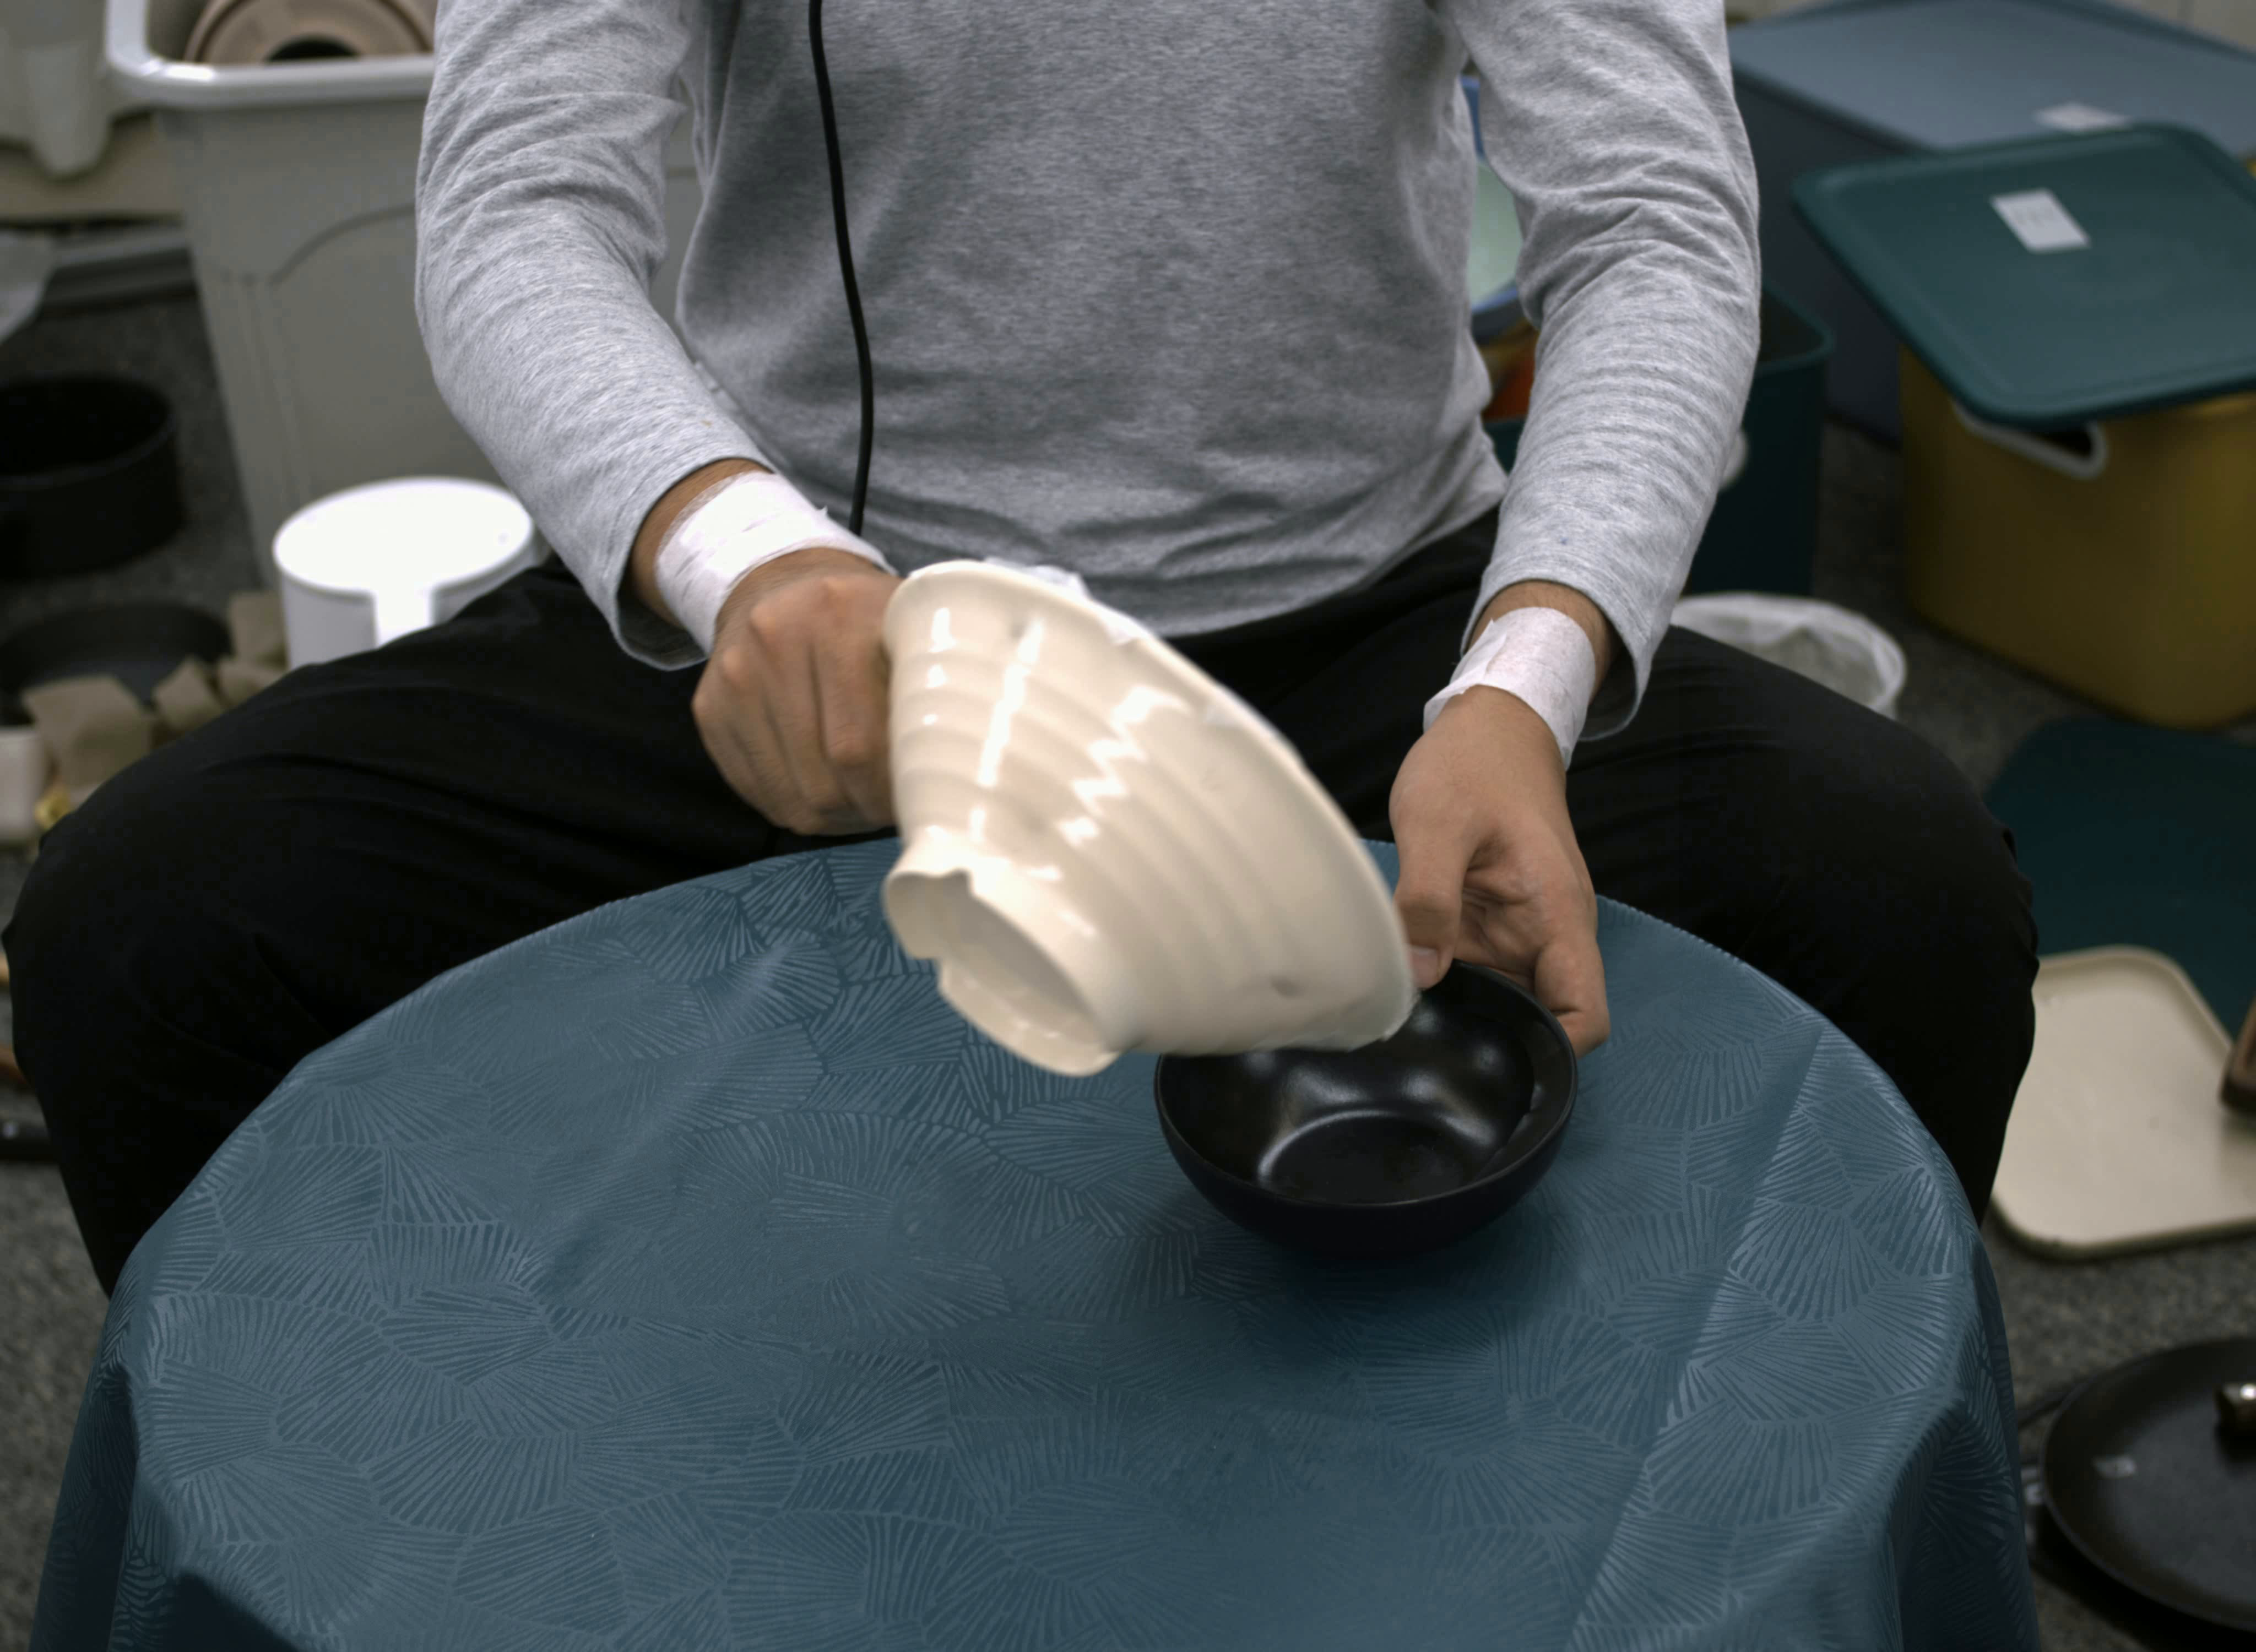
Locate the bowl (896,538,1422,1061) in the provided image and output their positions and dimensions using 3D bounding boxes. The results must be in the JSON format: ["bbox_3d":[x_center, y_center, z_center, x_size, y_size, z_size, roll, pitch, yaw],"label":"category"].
[{"bbox_3d":[-0.013,0.014,1.712,0.203,0.201,0.079,21,58,38],"label":"bowl"}]

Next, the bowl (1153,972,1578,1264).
[{"bbox_3d":[0.078,0.103,1.838,0.139,0.049,0.142,-2,29,1],"label":"bowl"}]
